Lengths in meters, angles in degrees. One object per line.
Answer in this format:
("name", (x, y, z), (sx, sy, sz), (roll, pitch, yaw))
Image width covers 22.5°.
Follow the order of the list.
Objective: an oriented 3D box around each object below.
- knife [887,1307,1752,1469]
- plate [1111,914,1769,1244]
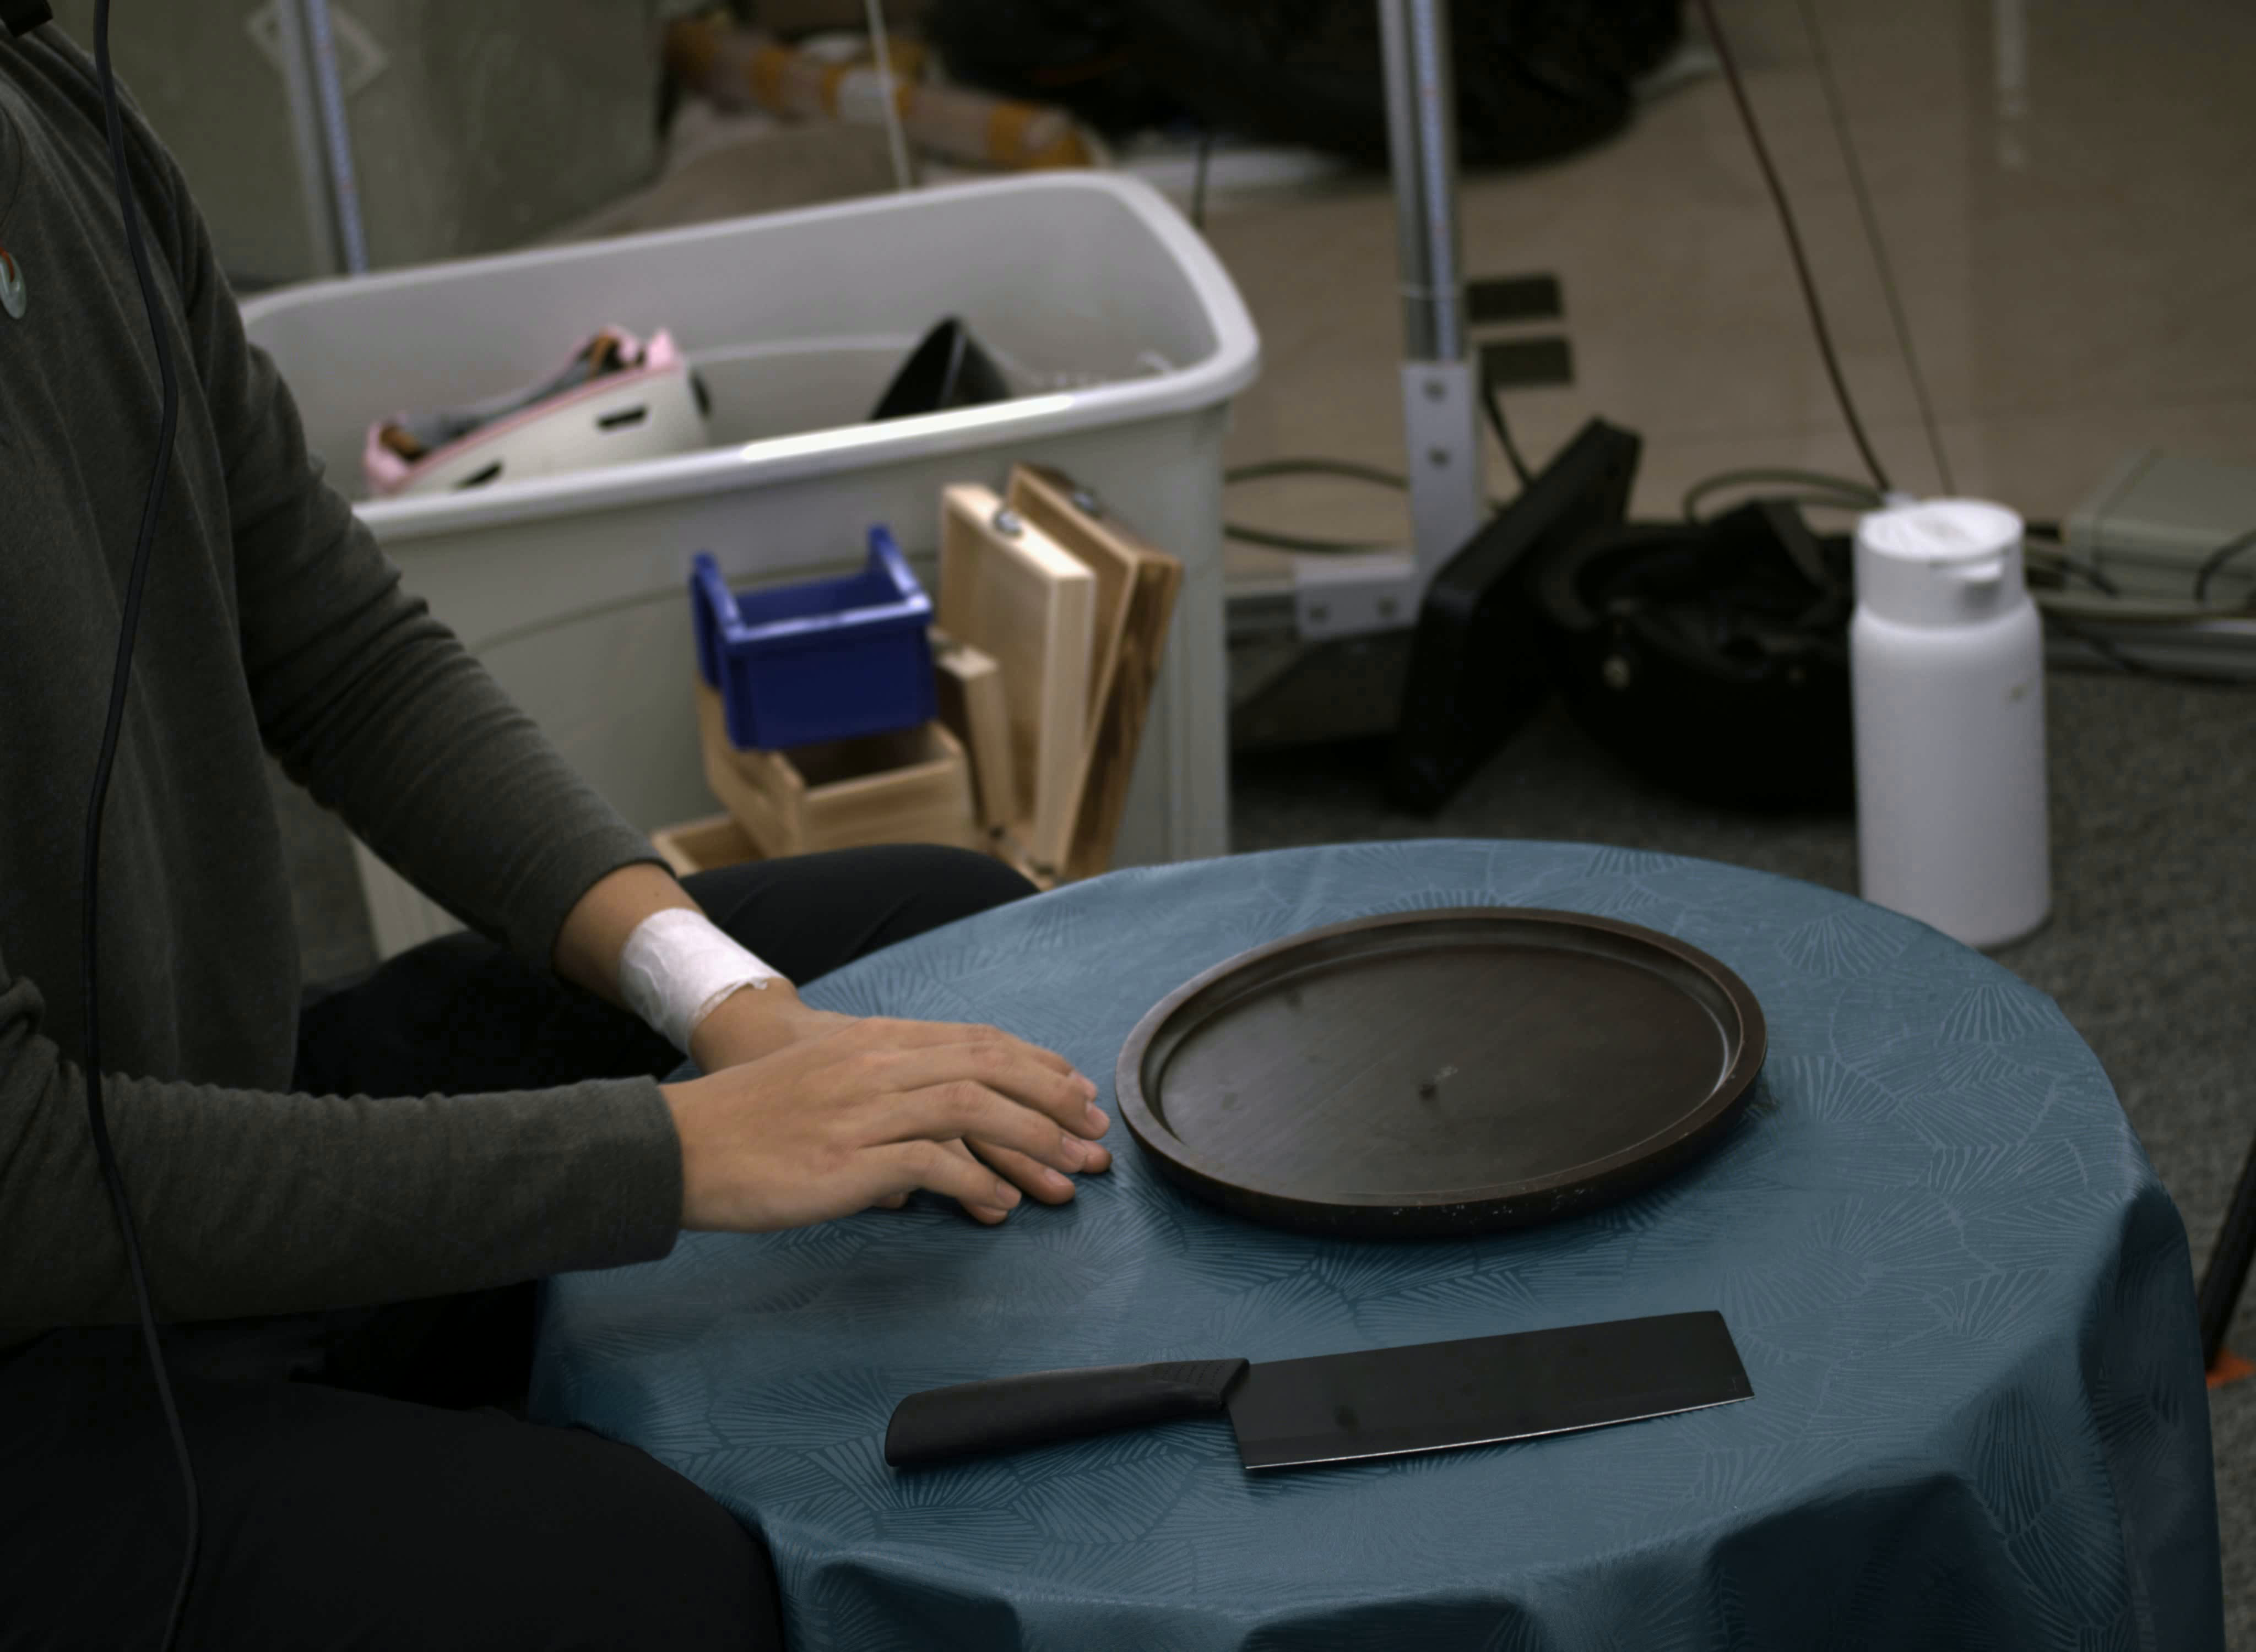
("knife", (0.066, 0.201, 1.986), (0.302, 0.021, 0.080), (-5, 26, -1))
("plate", (0.120, 0.095, 2.189), (0.254, 0.029, 0.251), (-5, 26, 3))
